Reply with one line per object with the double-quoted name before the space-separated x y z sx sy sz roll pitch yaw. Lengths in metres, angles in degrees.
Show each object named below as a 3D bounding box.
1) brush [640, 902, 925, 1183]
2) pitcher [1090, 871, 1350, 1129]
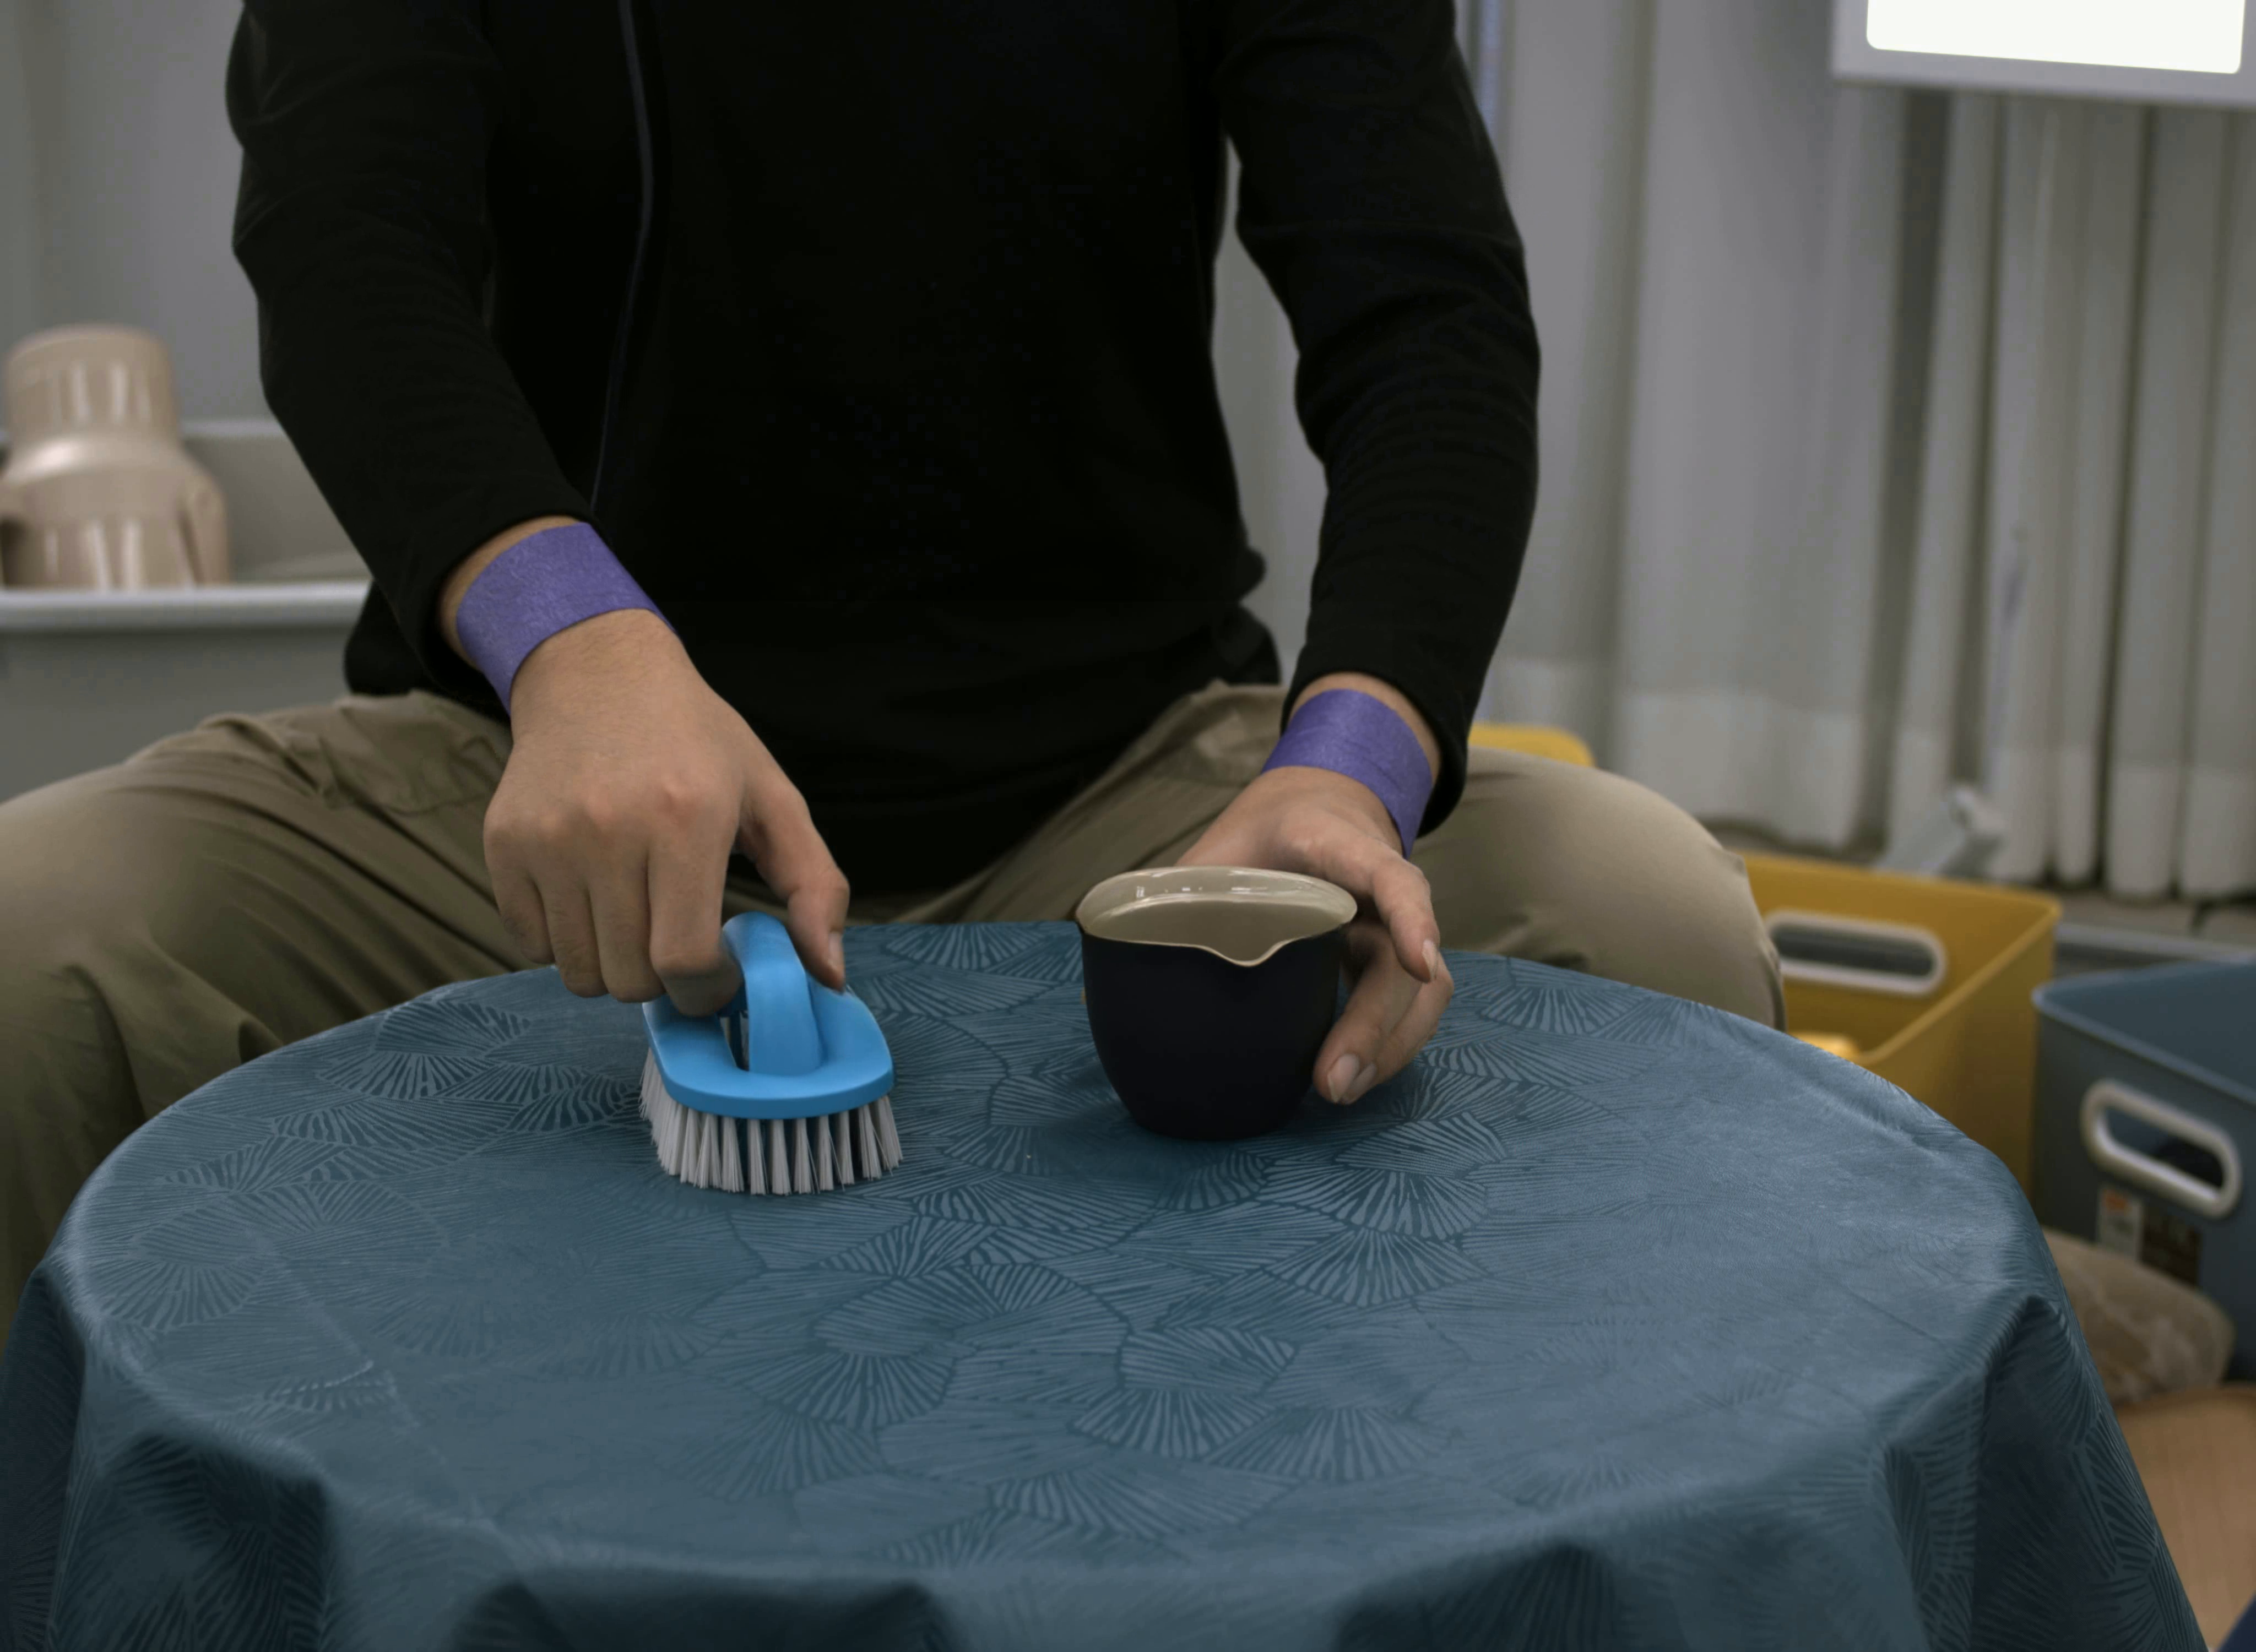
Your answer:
"brush" -0.113 0.063 1.672 0.084 0.064 0.140 -6 16 -8
"pitcher" 0.029 0.057 1.681 0.083 0.072 0.095 0 18 -6
